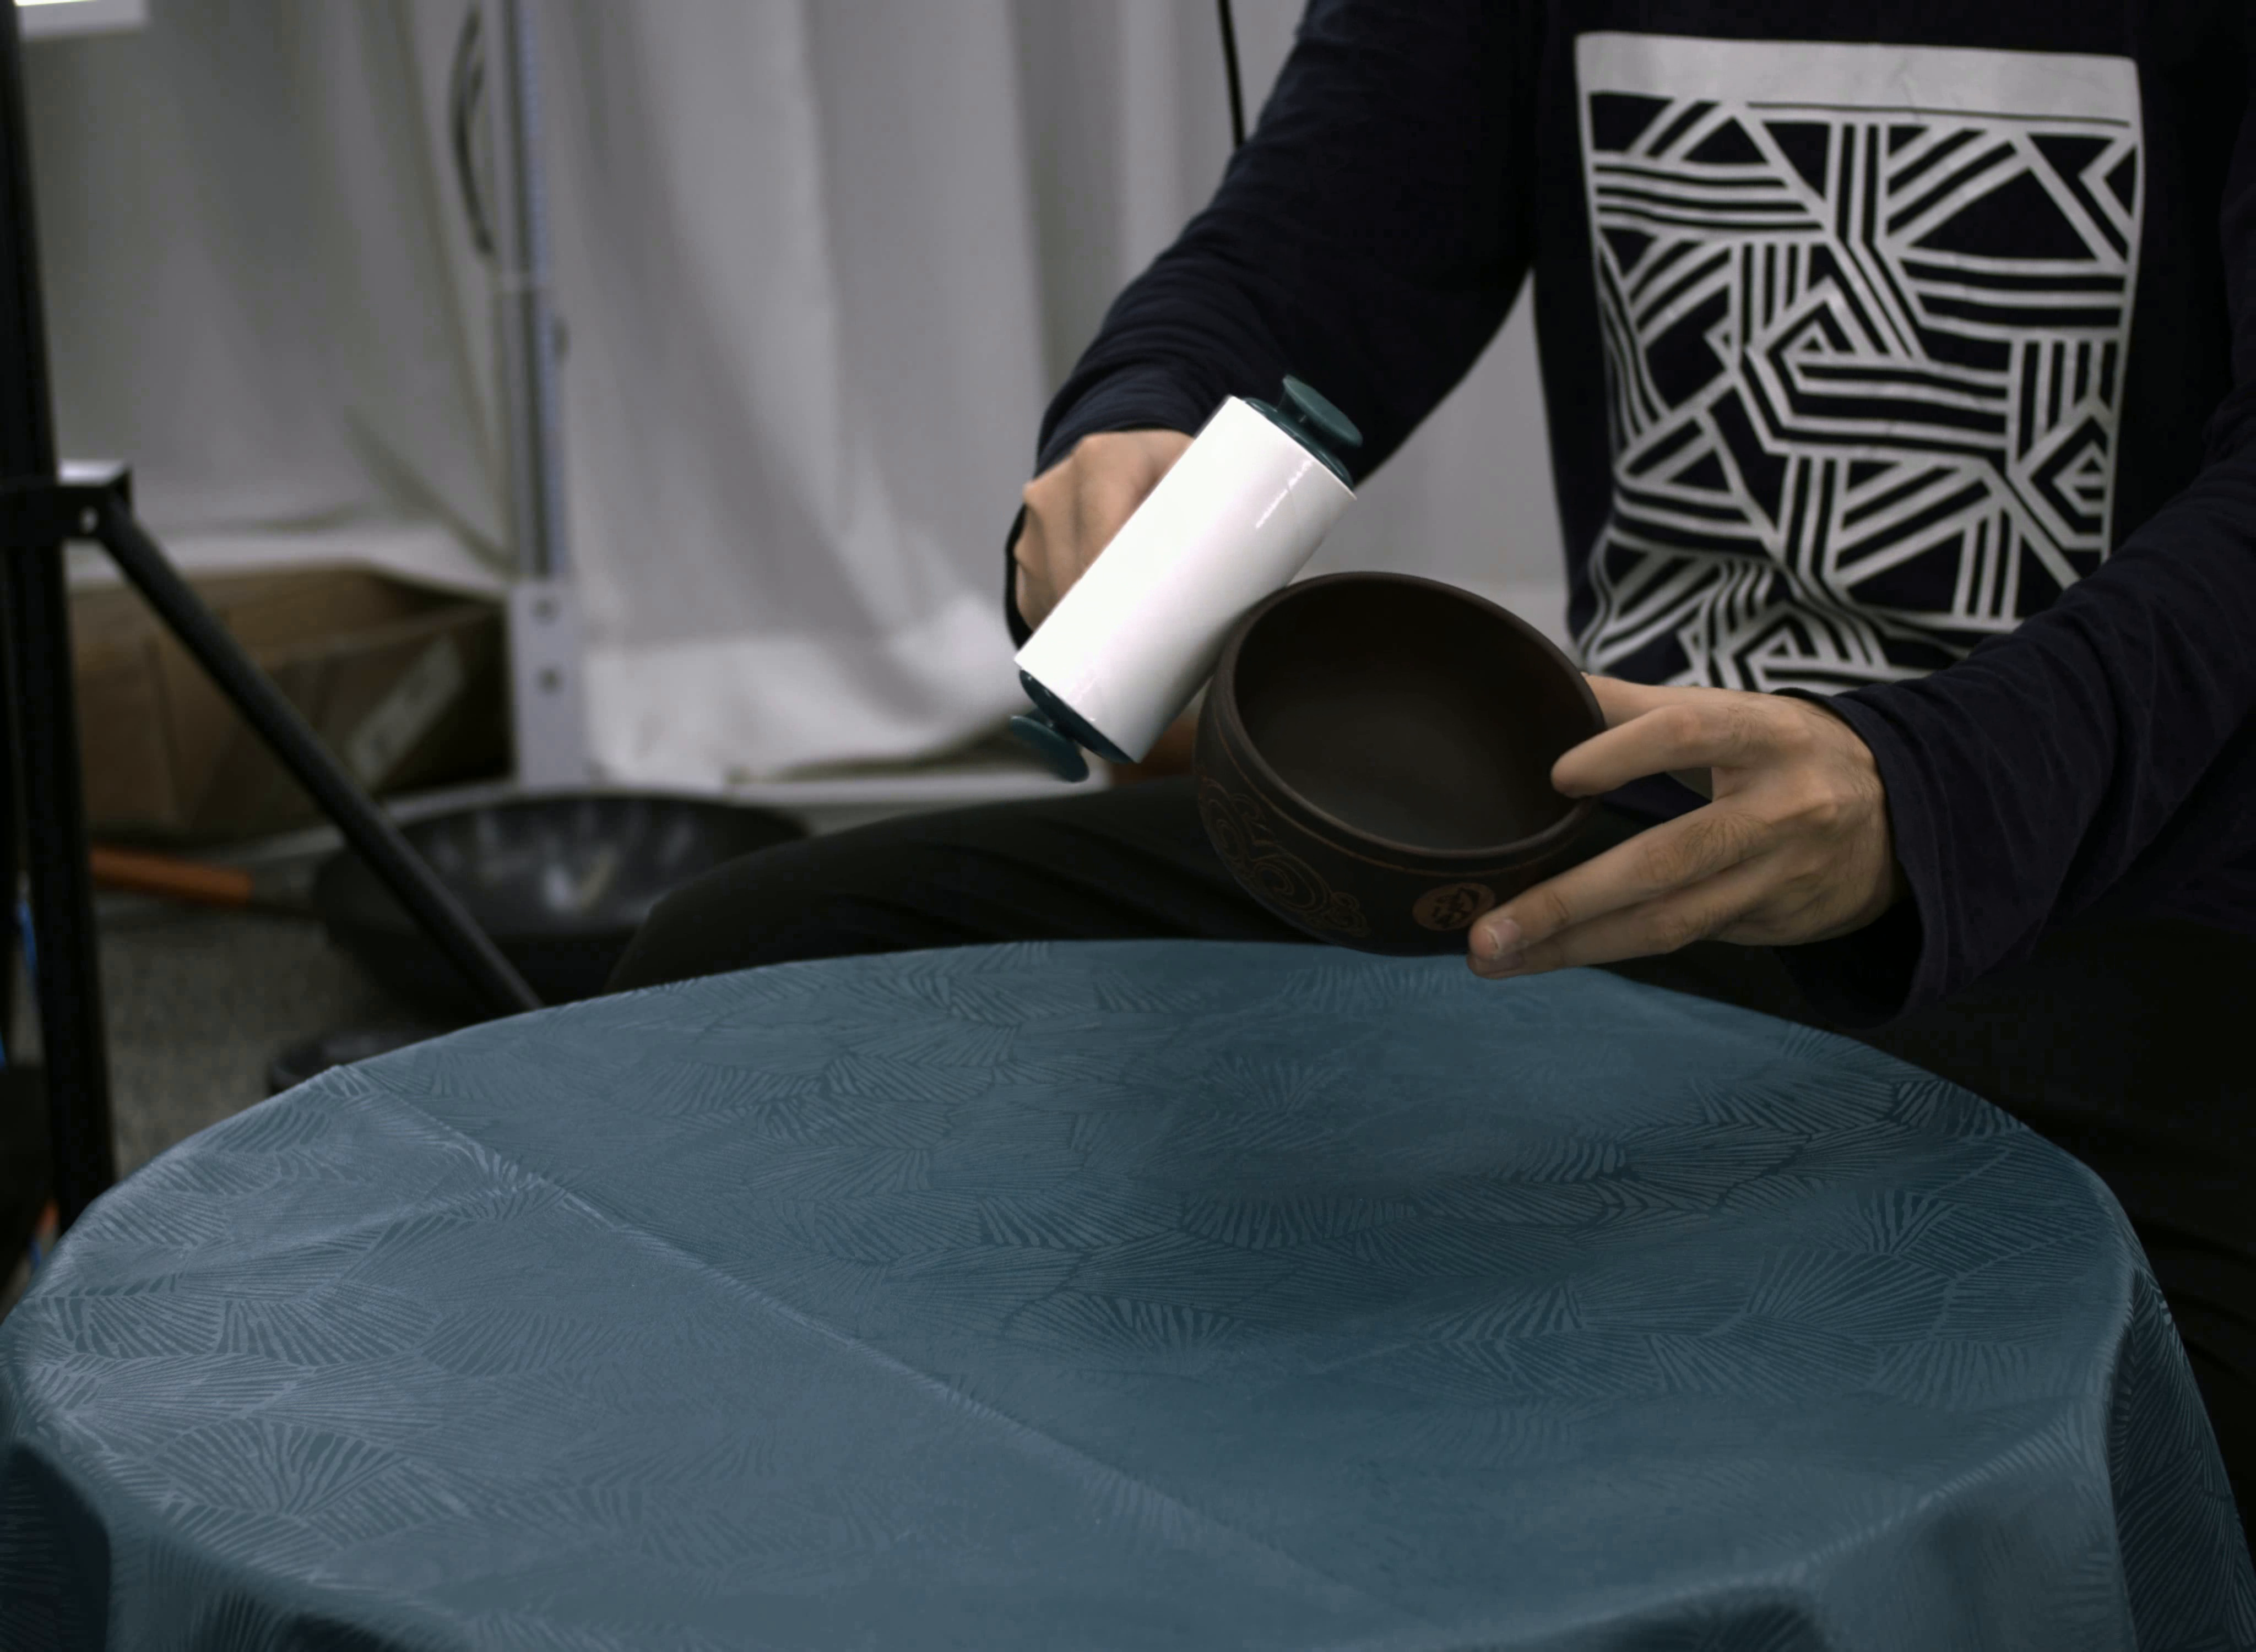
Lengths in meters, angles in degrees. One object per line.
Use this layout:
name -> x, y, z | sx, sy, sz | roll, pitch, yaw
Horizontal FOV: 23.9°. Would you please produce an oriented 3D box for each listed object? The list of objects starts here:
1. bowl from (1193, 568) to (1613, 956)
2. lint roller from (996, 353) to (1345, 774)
bowl -> 0.074, -0.009, 1.511 | 0.116, 0.070, 0.119 | 8, 42, -9
lint roller -> 0.005, -0.079, 1.591 | 0.048, 0.134, 0.181 | 39, 0, -9
